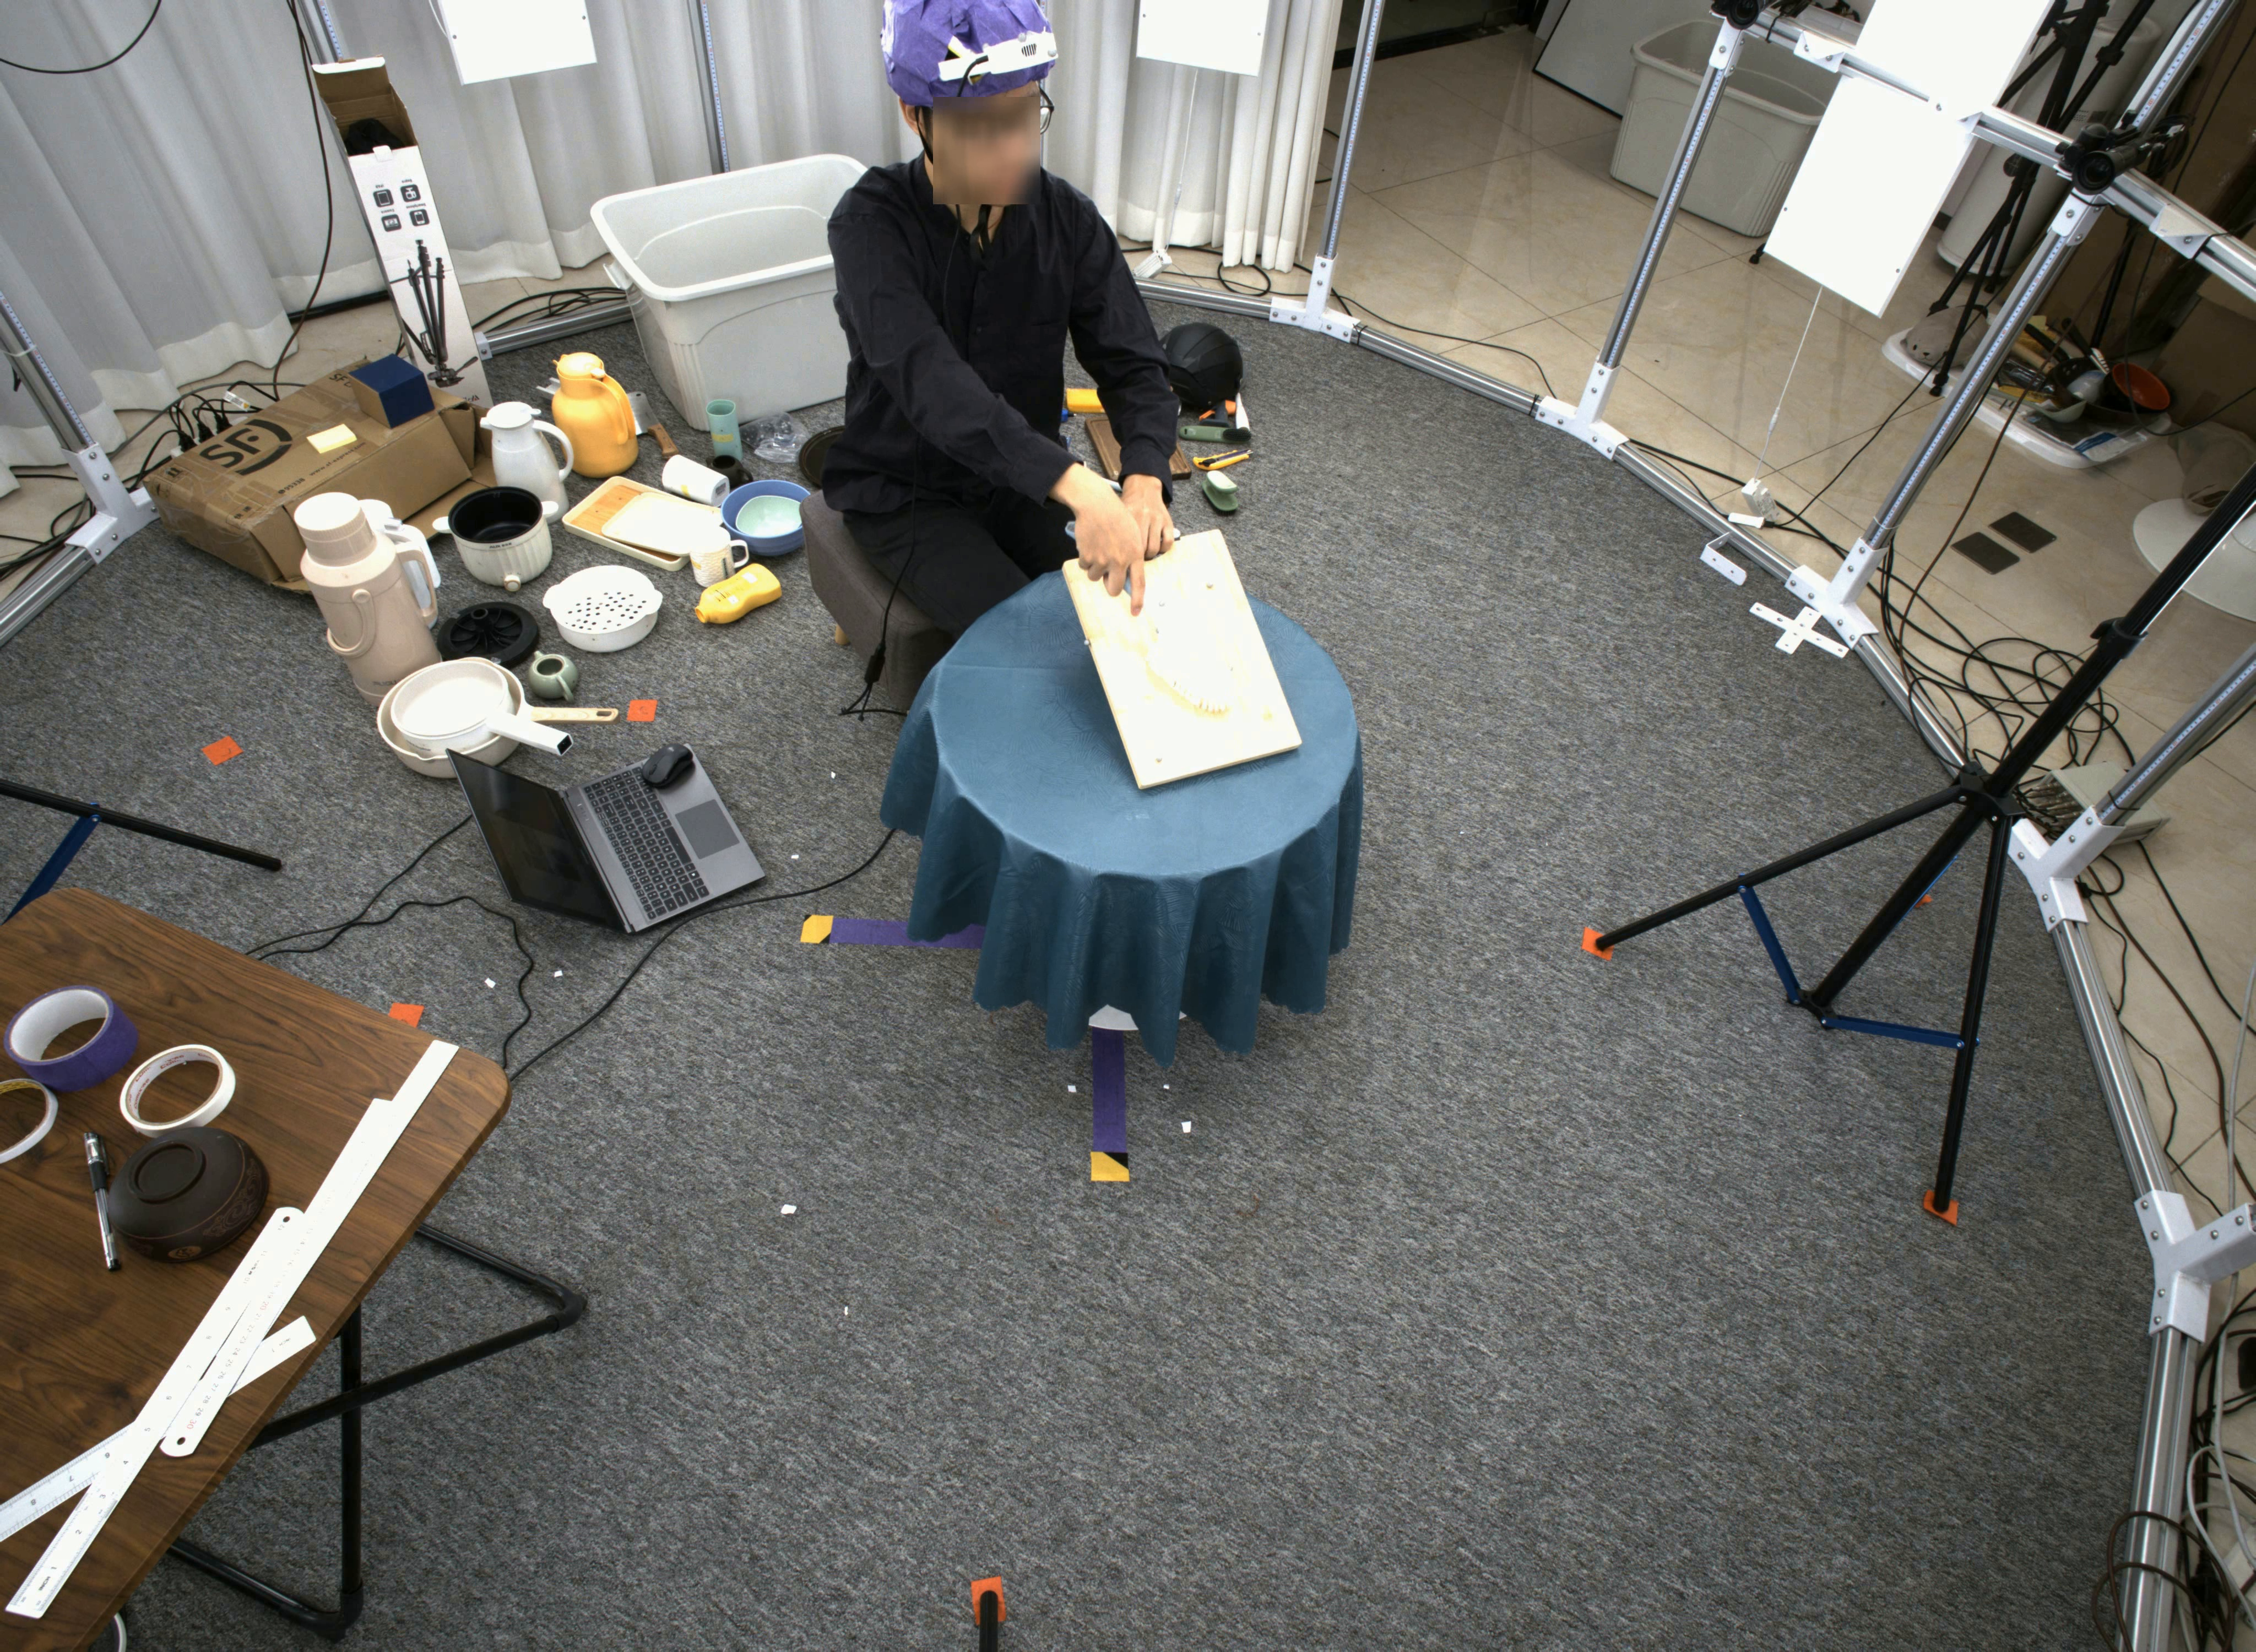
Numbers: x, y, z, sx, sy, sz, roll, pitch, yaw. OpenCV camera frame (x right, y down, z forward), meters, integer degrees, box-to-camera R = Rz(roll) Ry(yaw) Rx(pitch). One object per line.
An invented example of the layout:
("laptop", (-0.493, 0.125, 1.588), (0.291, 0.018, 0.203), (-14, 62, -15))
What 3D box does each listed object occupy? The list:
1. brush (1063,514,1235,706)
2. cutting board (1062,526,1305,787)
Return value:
("brush", (0.023, -0.289, 1.740), (0.324, 0.083, 0.084), (46, 32, -5))
("cutting board", (0.076, -0.240, 1.785), (0.251, 0.023, 0.353), (-16, 75, -18))
